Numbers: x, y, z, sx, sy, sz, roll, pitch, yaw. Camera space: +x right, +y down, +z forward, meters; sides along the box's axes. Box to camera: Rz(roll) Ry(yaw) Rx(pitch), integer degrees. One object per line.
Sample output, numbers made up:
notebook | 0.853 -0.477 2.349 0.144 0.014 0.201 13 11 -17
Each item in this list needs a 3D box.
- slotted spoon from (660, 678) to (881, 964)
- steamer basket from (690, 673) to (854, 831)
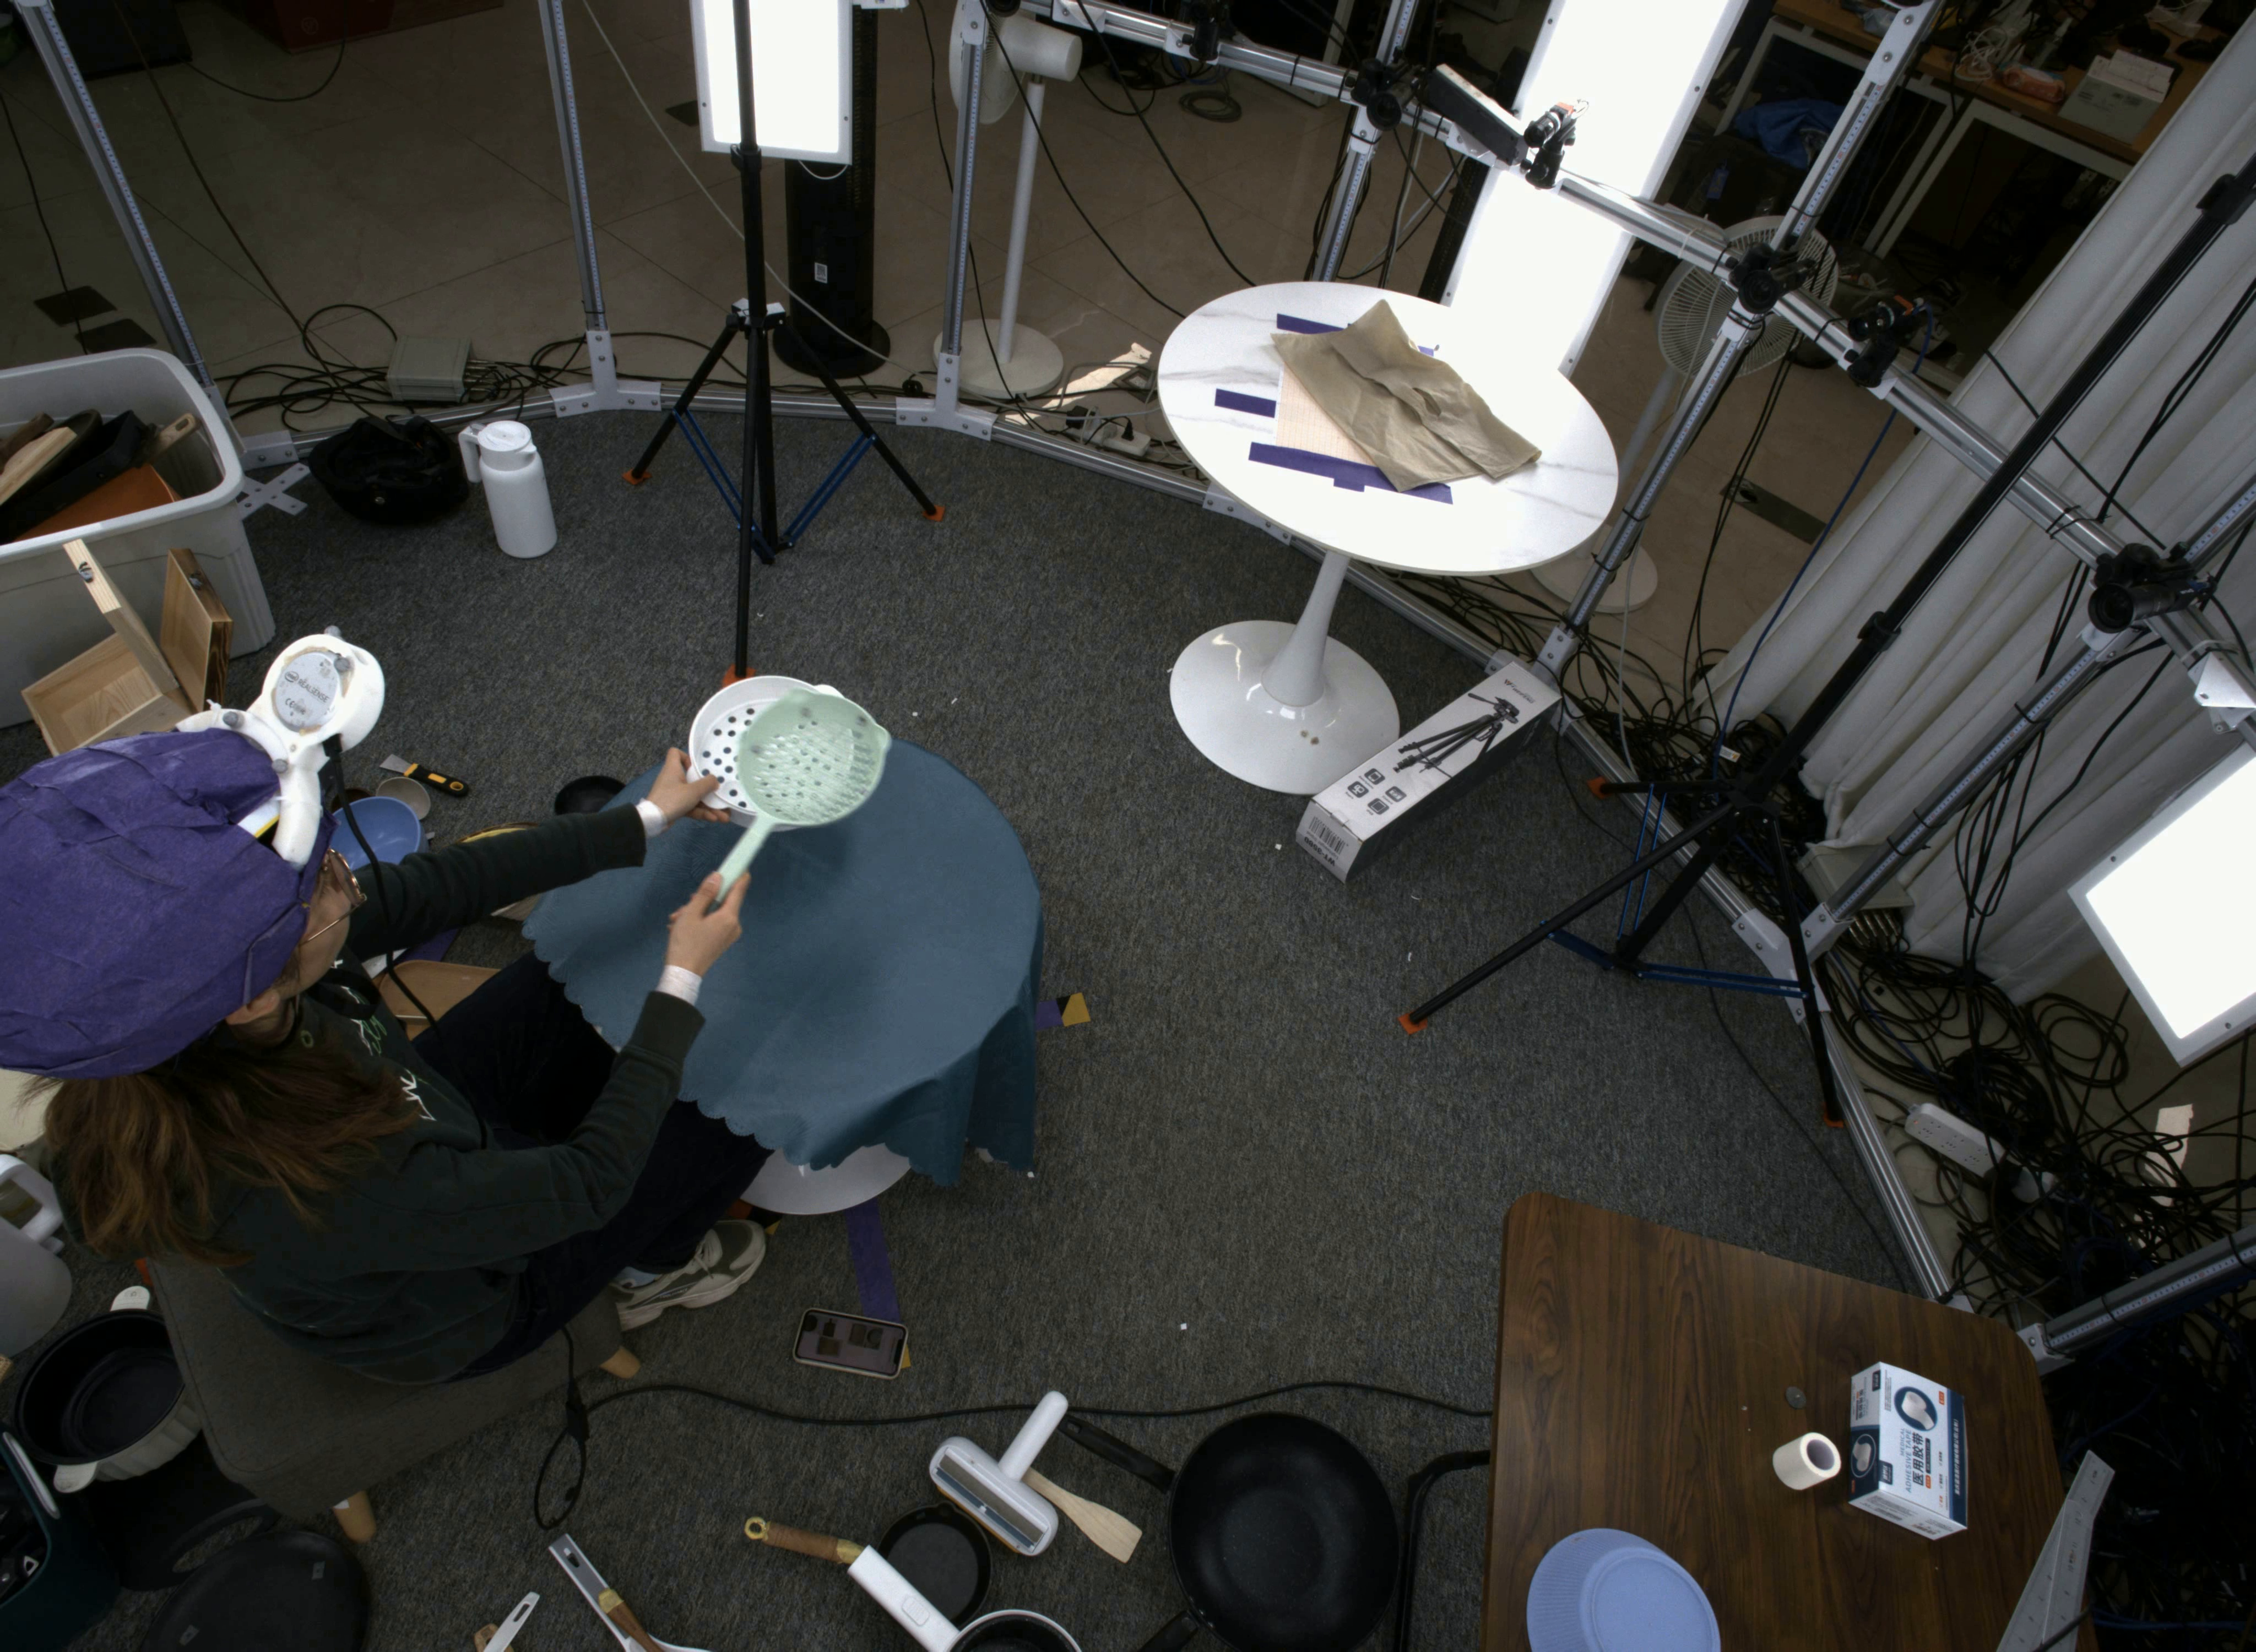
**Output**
slotted spoon | -0.417 -0.006 1.448 0.167 0.077 0.357 27 59 6
steamer basket | -0.449 -0.093 1.646 0.200 0.070 0.230 45 62 7
